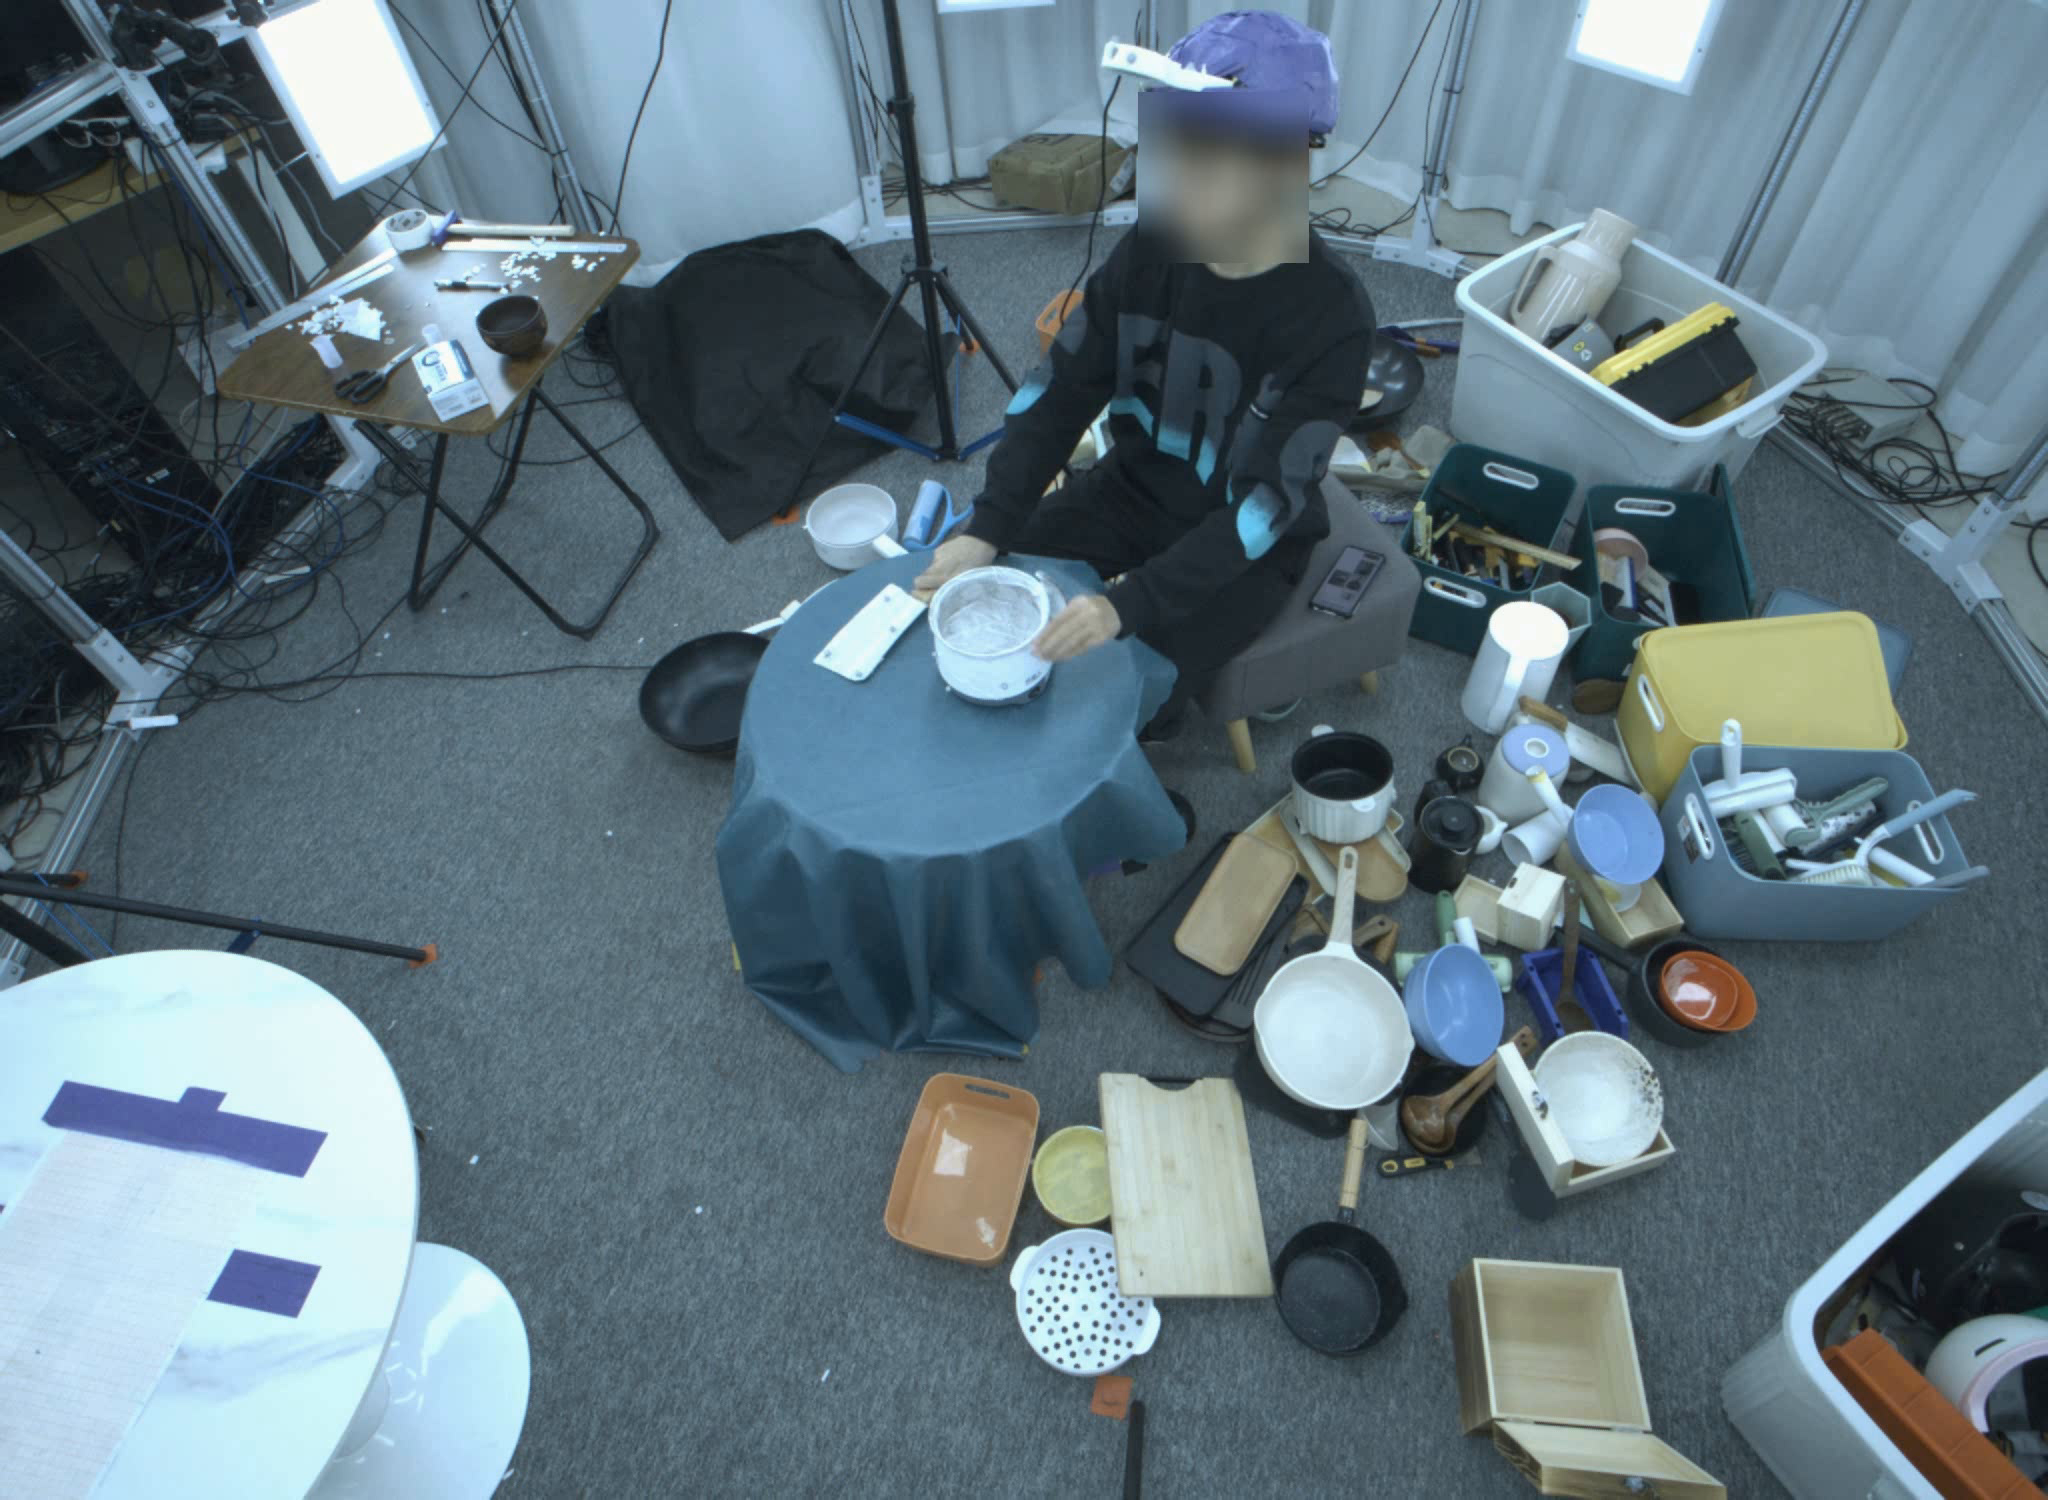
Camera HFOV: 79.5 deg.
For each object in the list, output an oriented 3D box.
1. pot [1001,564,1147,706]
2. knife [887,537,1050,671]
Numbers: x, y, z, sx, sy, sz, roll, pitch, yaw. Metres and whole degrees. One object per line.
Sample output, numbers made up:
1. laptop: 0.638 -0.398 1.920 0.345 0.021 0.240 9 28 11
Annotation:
1. pot: 0.083 -0.180 1.820 0.235 0.138 0.175 -36 61 -17
2. knife: -0.077 -0.233 1.931 0.317 0.022 0.111 -42 58 -18
